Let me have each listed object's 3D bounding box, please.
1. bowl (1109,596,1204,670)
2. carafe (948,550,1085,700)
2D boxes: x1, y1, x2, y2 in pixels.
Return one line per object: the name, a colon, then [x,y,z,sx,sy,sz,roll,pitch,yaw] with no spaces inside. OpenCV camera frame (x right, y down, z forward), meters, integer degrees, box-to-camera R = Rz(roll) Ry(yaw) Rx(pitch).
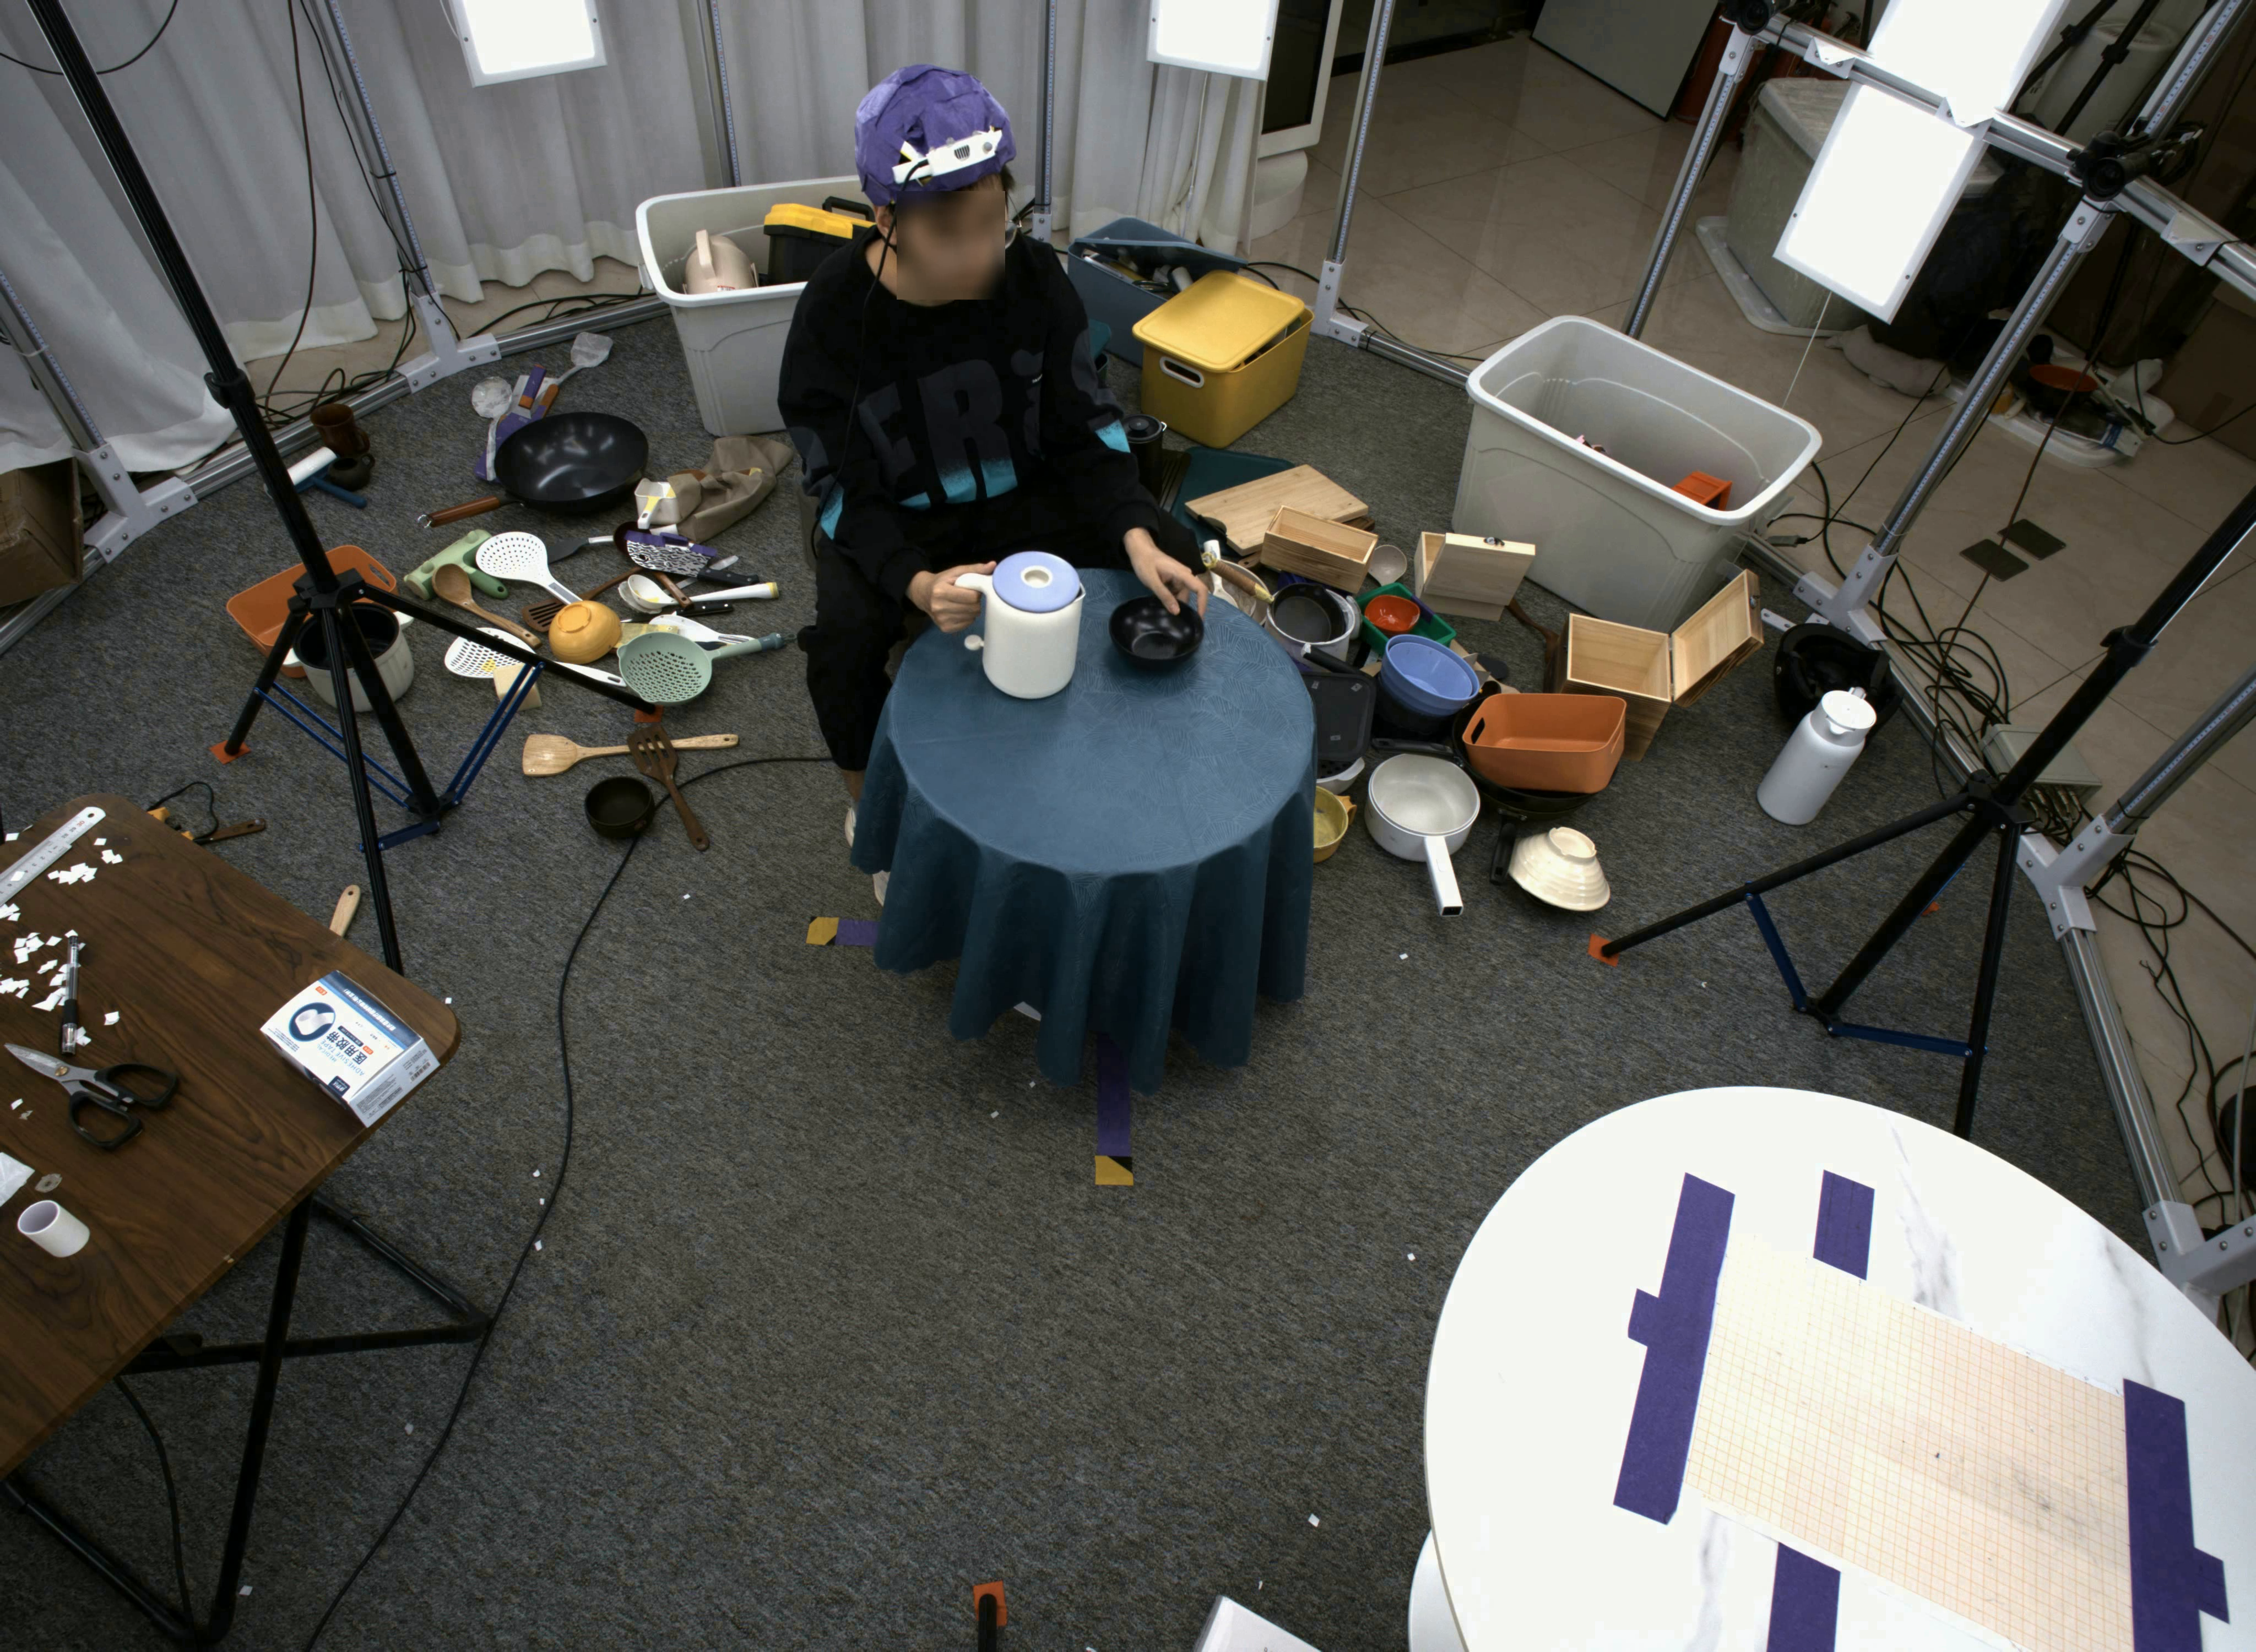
bowl: [0.041,-0.274,1.877,0.140,0.048,0.143,1,48,-1]
carafe: [-0.157,-0.283,1.788,0.191,0.178,0.135,10,49,4]
